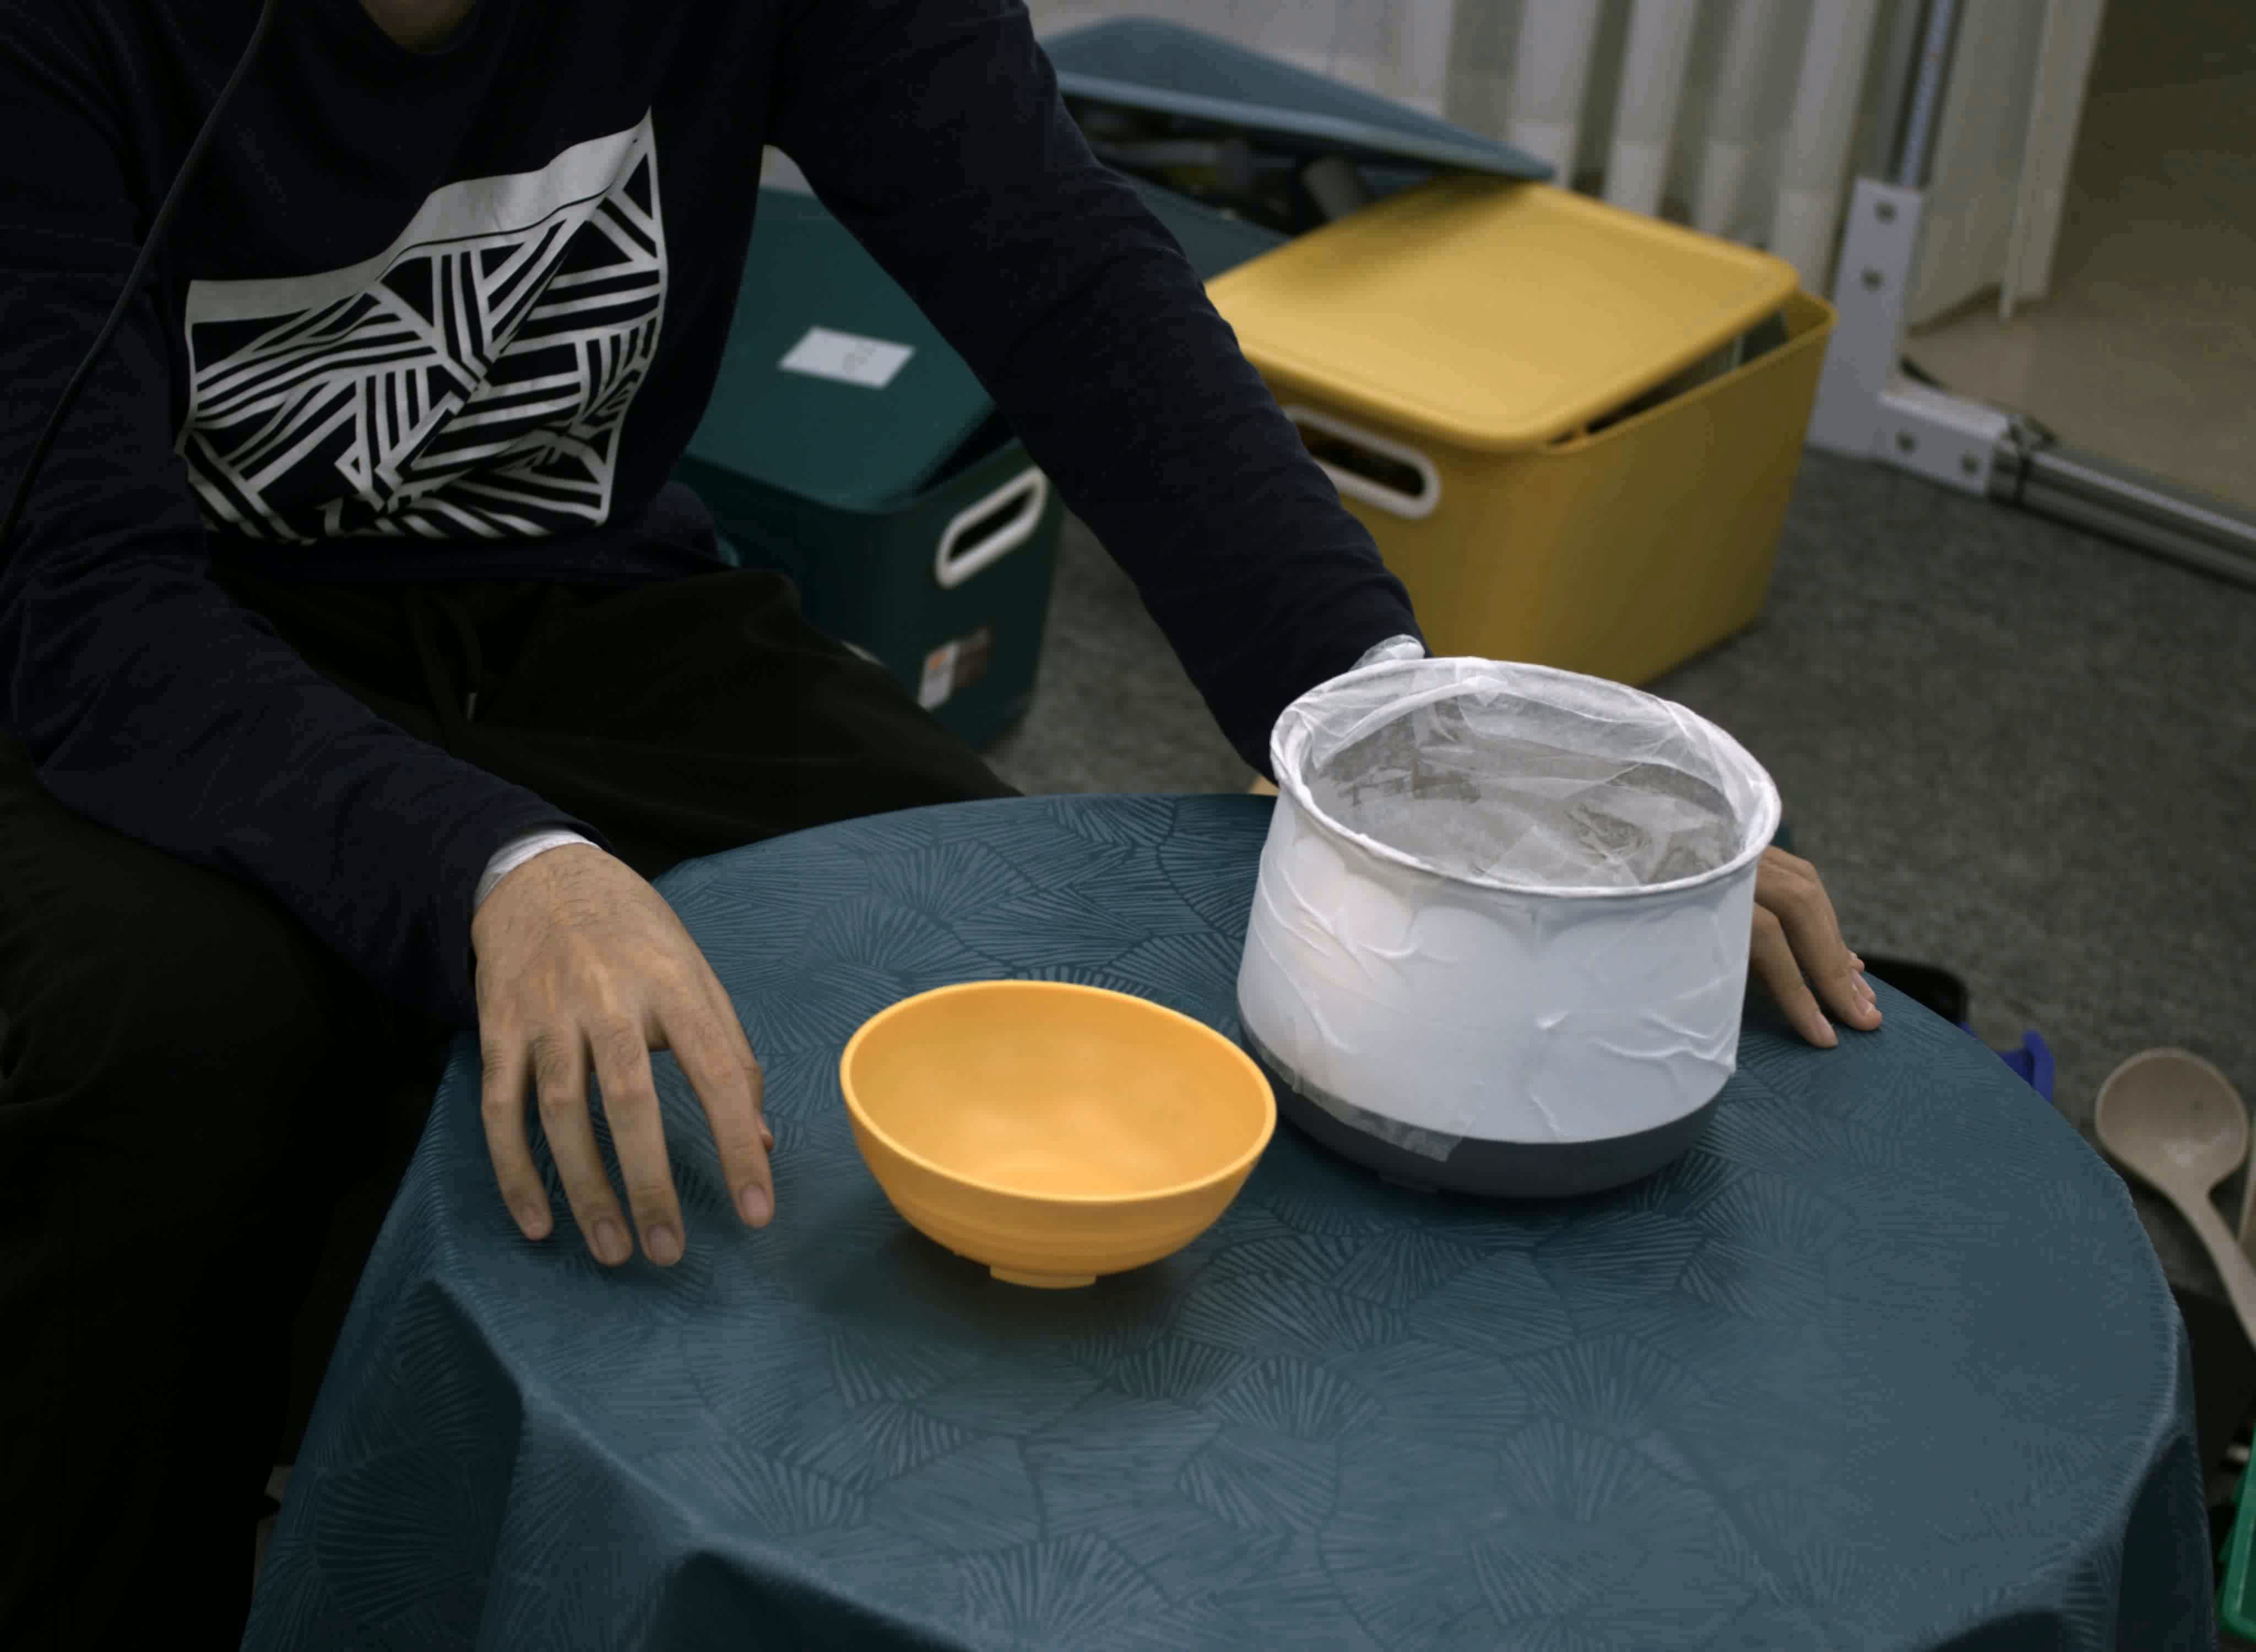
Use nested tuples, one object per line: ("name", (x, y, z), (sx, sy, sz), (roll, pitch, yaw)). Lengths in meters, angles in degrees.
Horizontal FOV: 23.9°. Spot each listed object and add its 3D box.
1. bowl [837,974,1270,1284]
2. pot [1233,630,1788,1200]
("bowl", (-0.028, 0.109, 1.759), (0.145, 0.060, 0.146), (7, 27, -4))
("pot", (0.118, 0.024, 1.876), (0.177, 0.136, 0.236), (-3, 29, -25))
